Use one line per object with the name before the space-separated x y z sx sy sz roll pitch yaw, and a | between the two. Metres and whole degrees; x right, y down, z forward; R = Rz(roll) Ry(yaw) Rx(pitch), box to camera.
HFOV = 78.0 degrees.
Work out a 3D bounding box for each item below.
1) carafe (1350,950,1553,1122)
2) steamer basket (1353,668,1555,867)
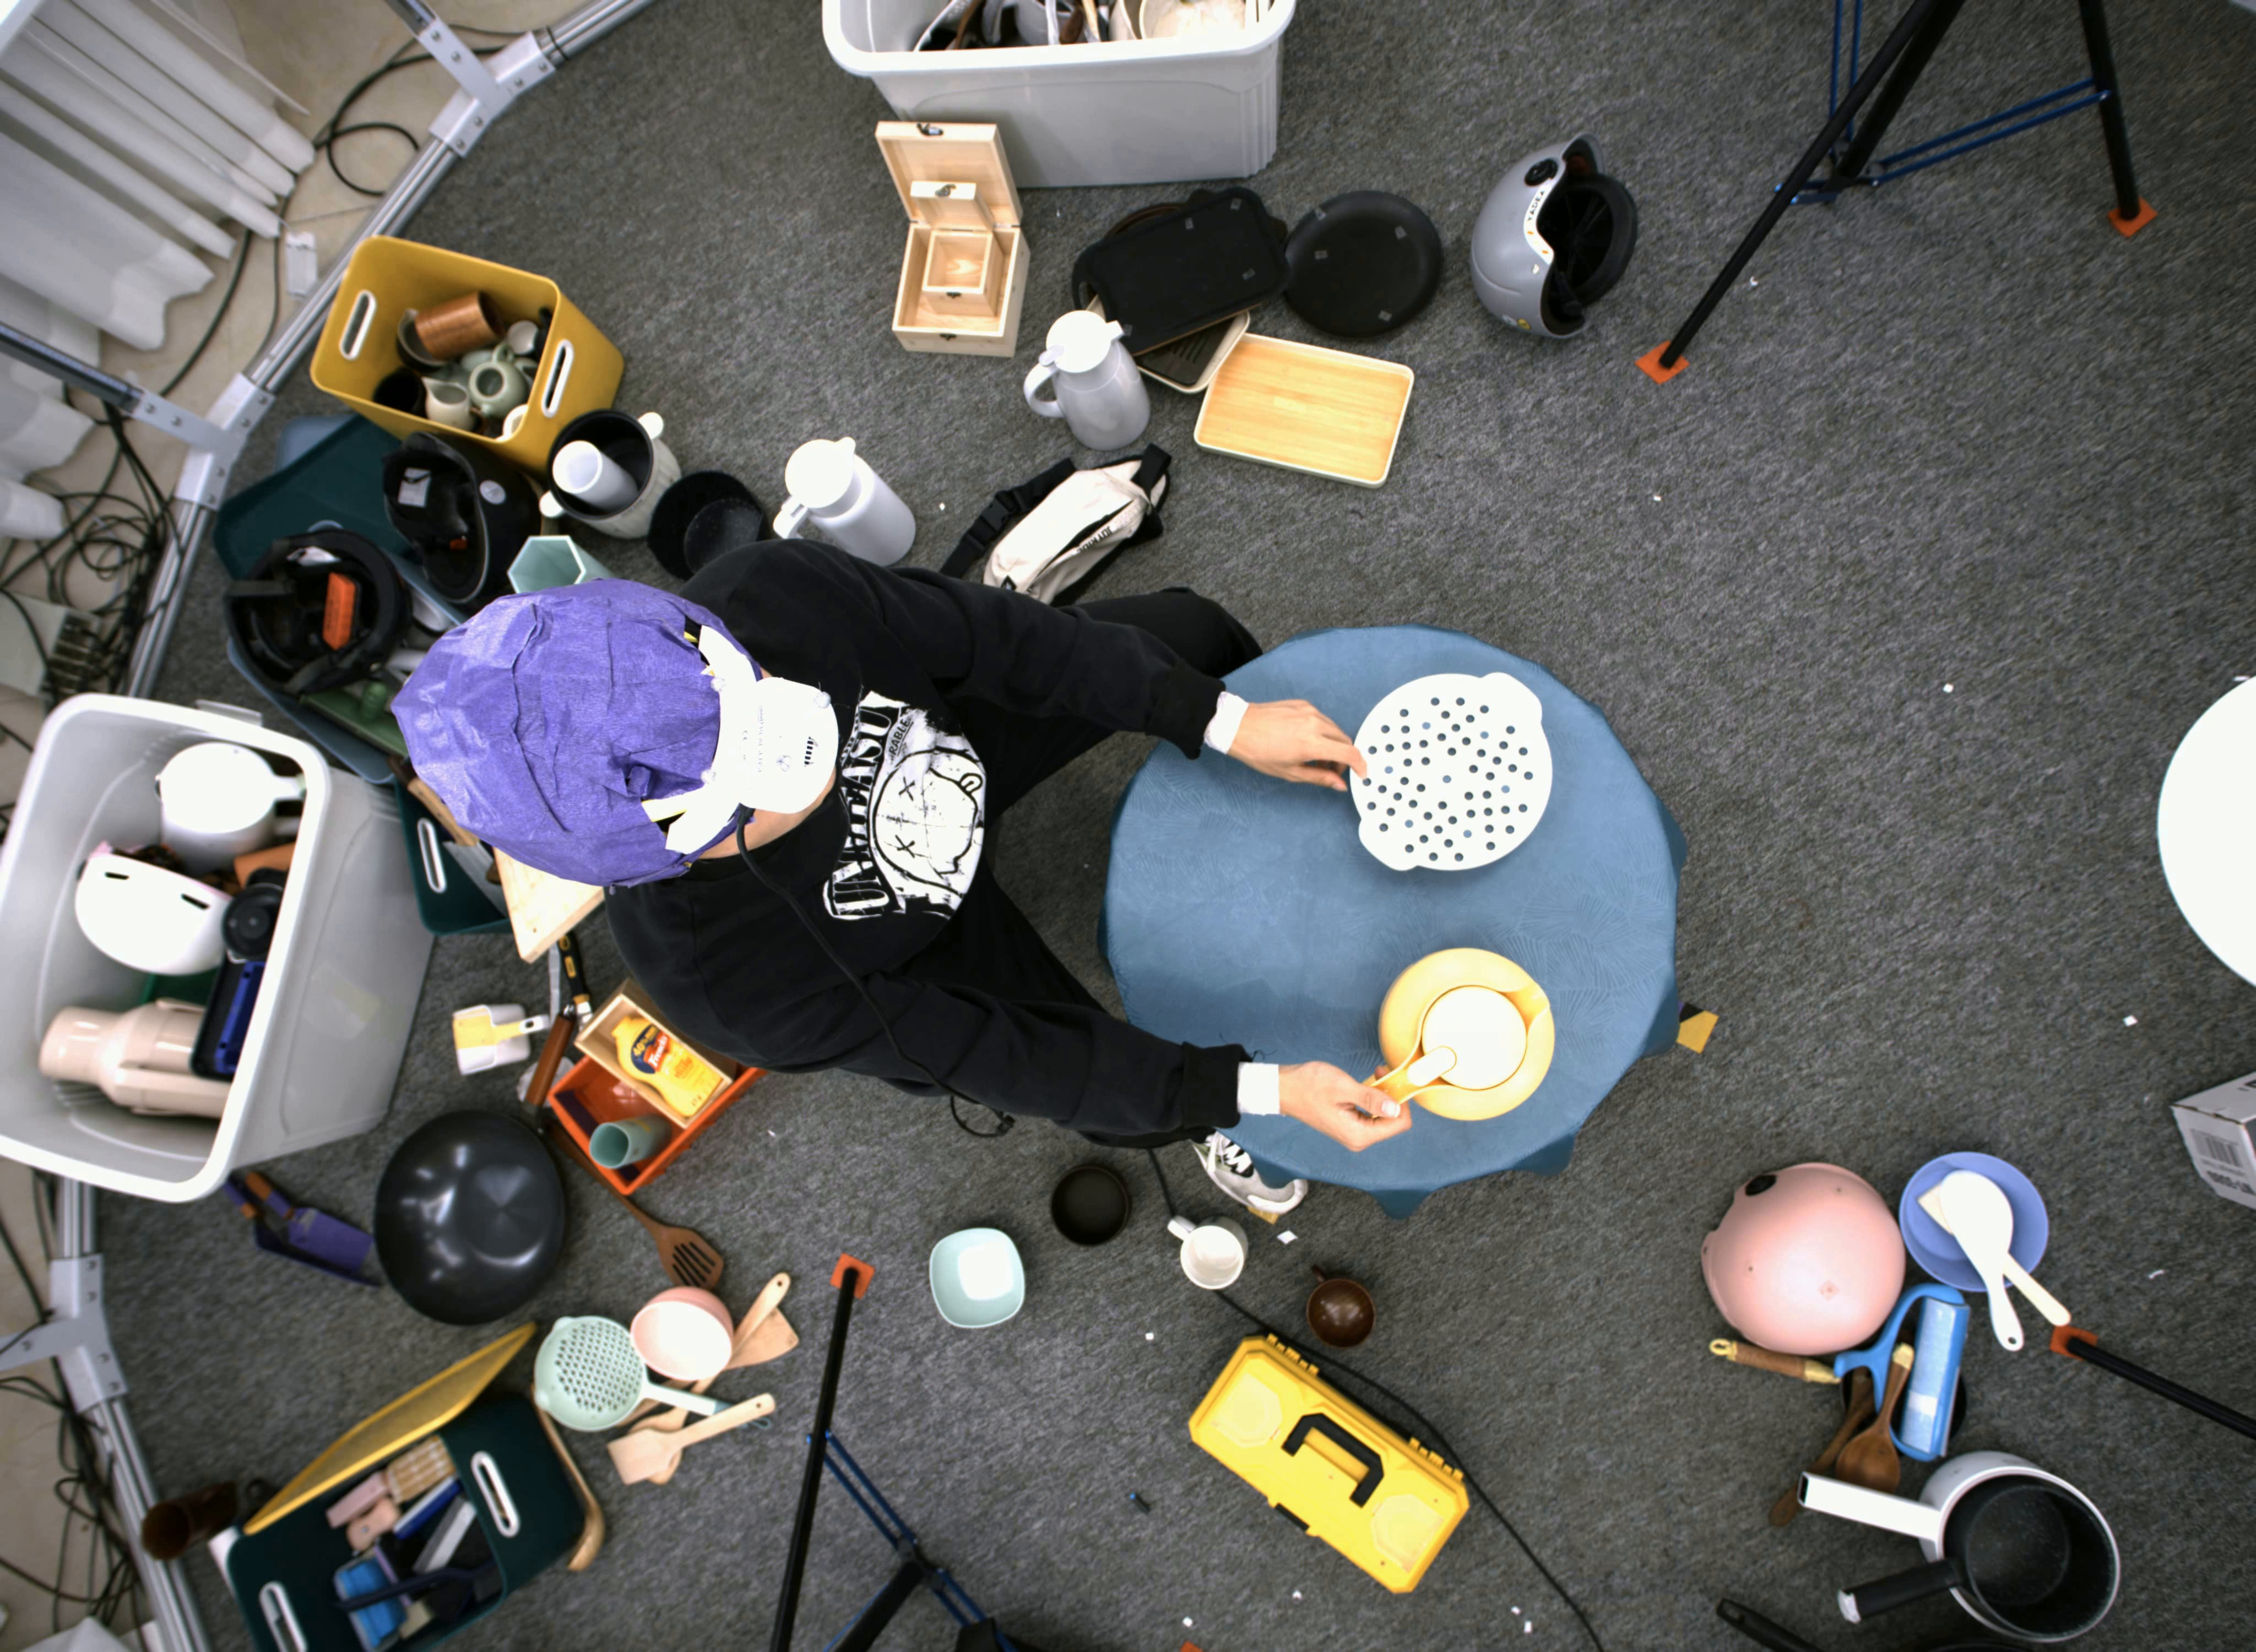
carafe | 0.302 0.206 1.315 0.203 0.261 0.162 -31 78 5
steamer basket | 0.335 -0.058 1.420 0.201 0.069 0.231 40 92 11
